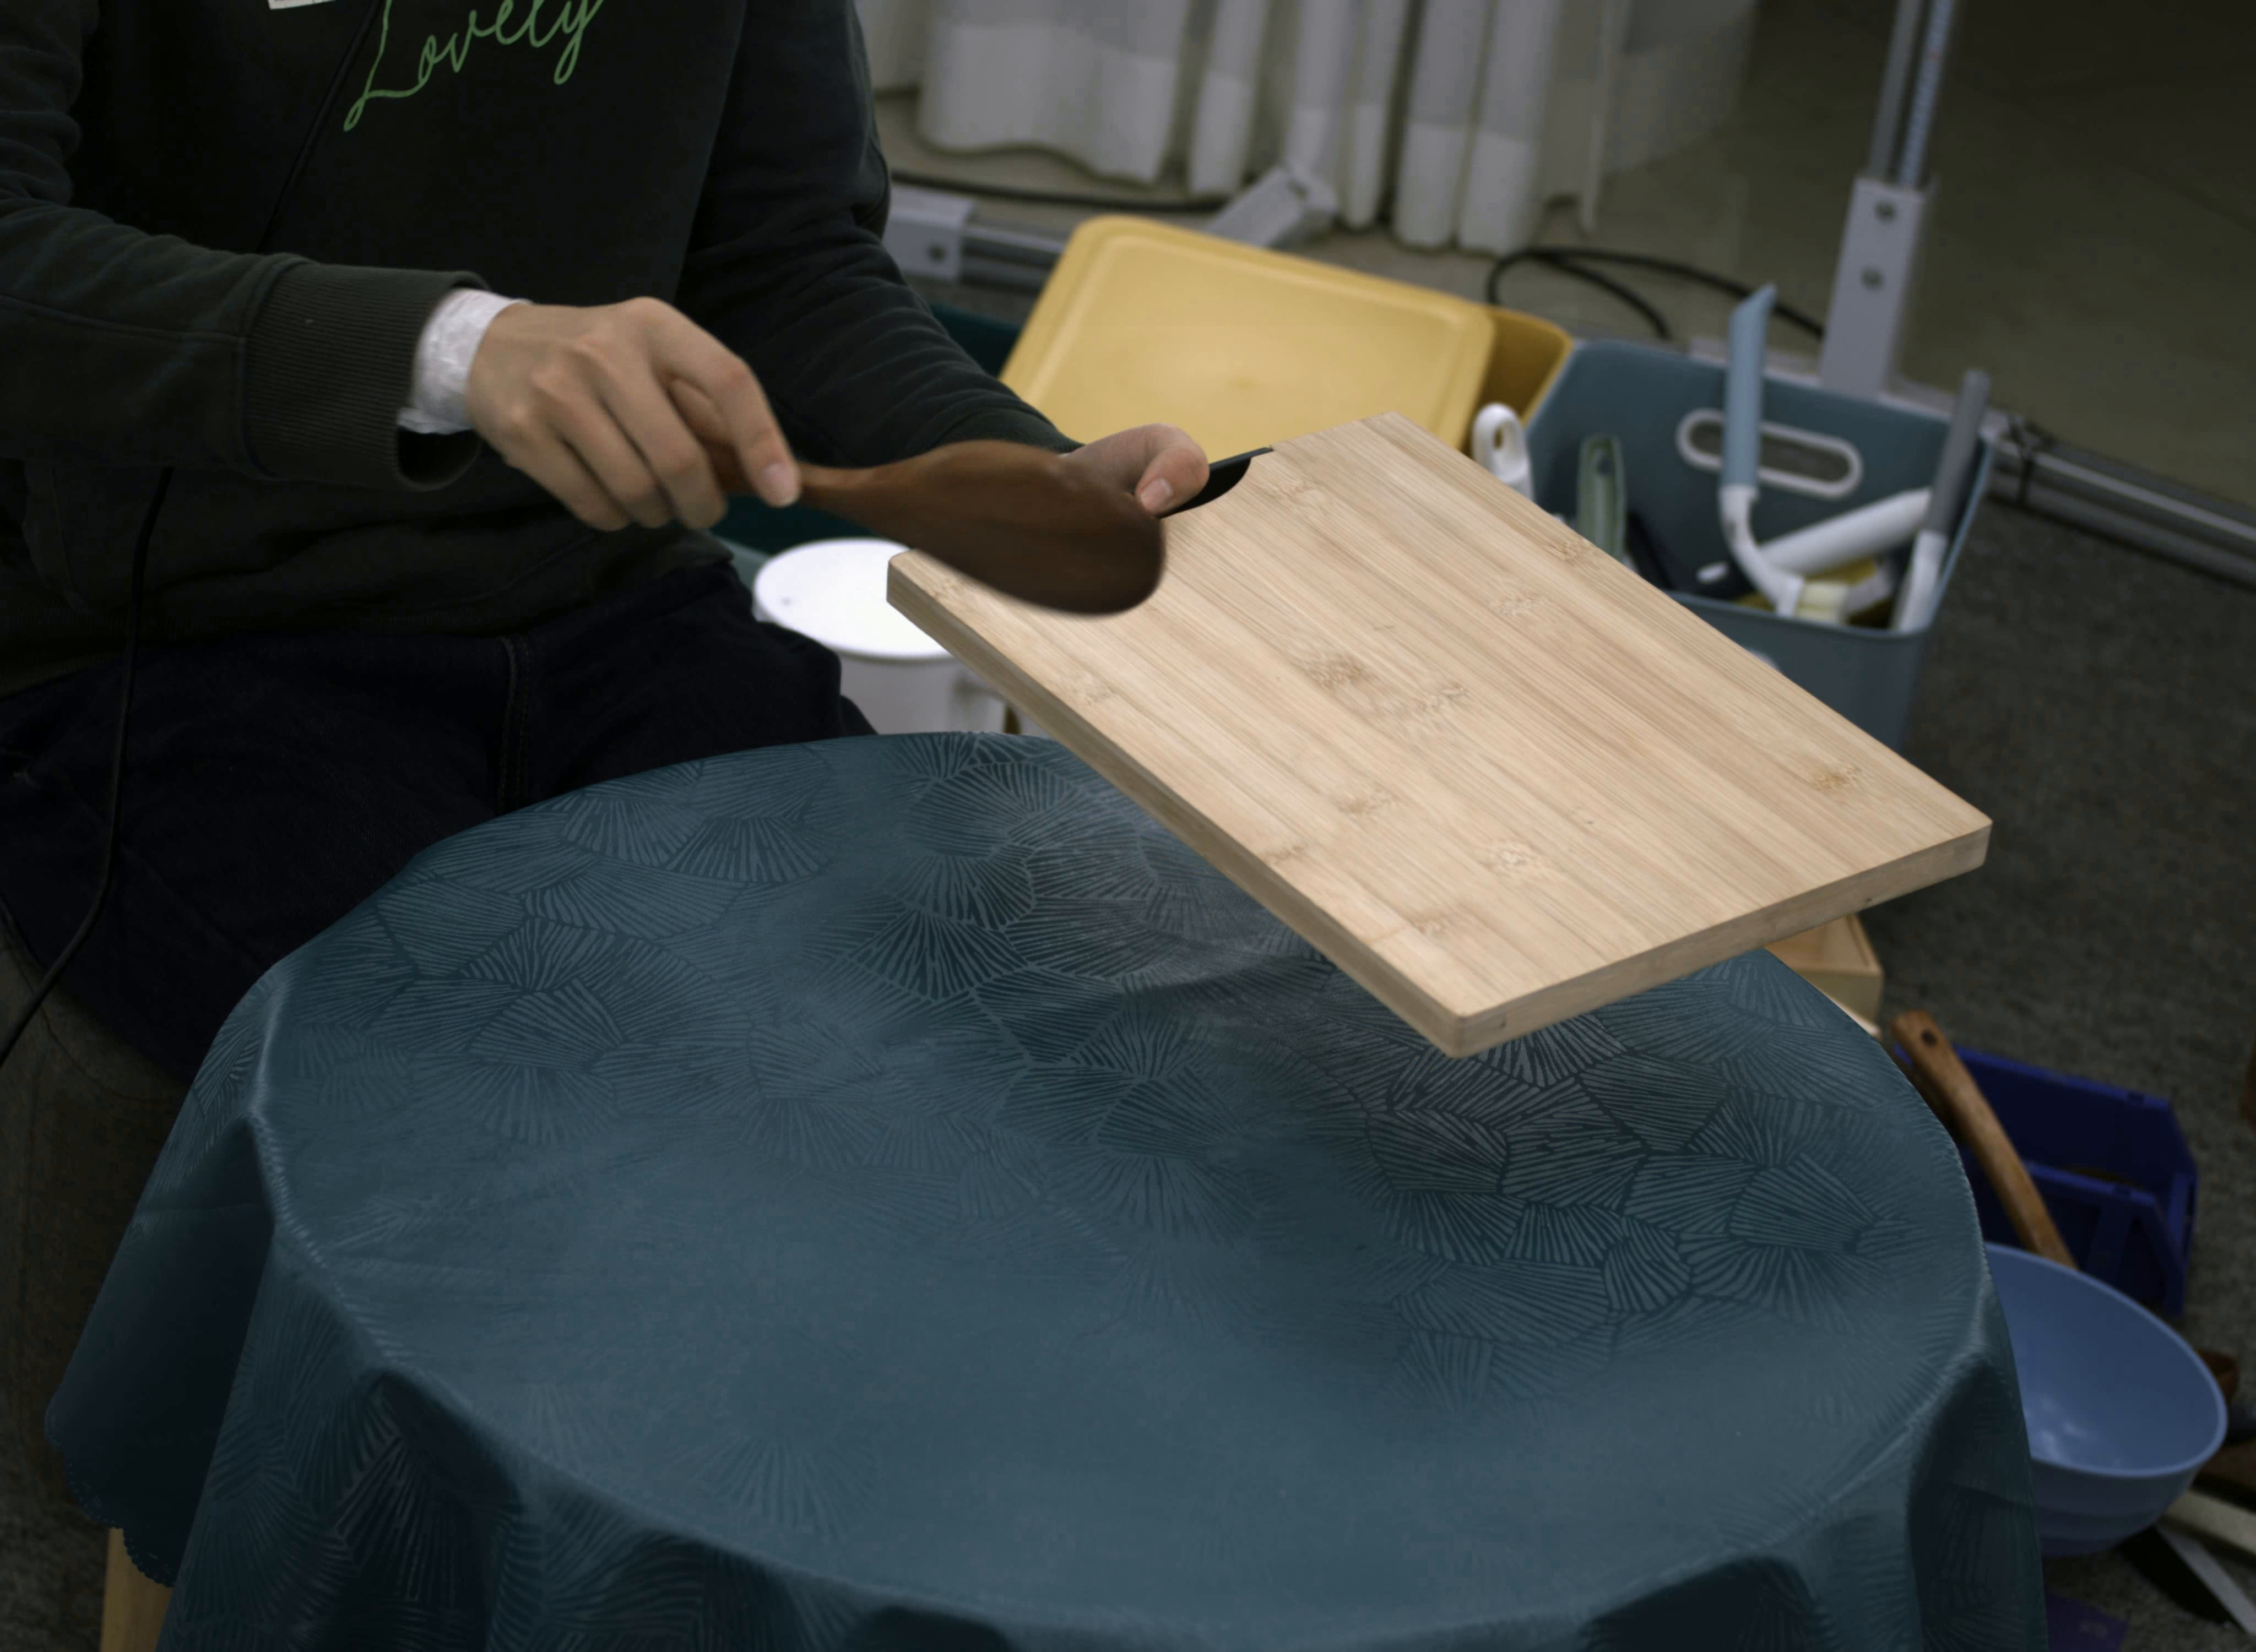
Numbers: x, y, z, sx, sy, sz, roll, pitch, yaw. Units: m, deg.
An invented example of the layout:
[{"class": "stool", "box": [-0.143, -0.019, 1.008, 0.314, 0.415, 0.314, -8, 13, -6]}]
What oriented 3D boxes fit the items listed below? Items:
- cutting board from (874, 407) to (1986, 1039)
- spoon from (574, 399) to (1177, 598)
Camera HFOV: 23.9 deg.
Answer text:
[{"class": "cutting board", "box": [0.102, -0.045, 1.904, 0.249, 0.023, 0.352, -18, 38, -32]}, {"class": "spoon", "box": [-0.084, -0.109, 1.720, 0.216, 0.075, 0.017, 13, 60, 23]}]
